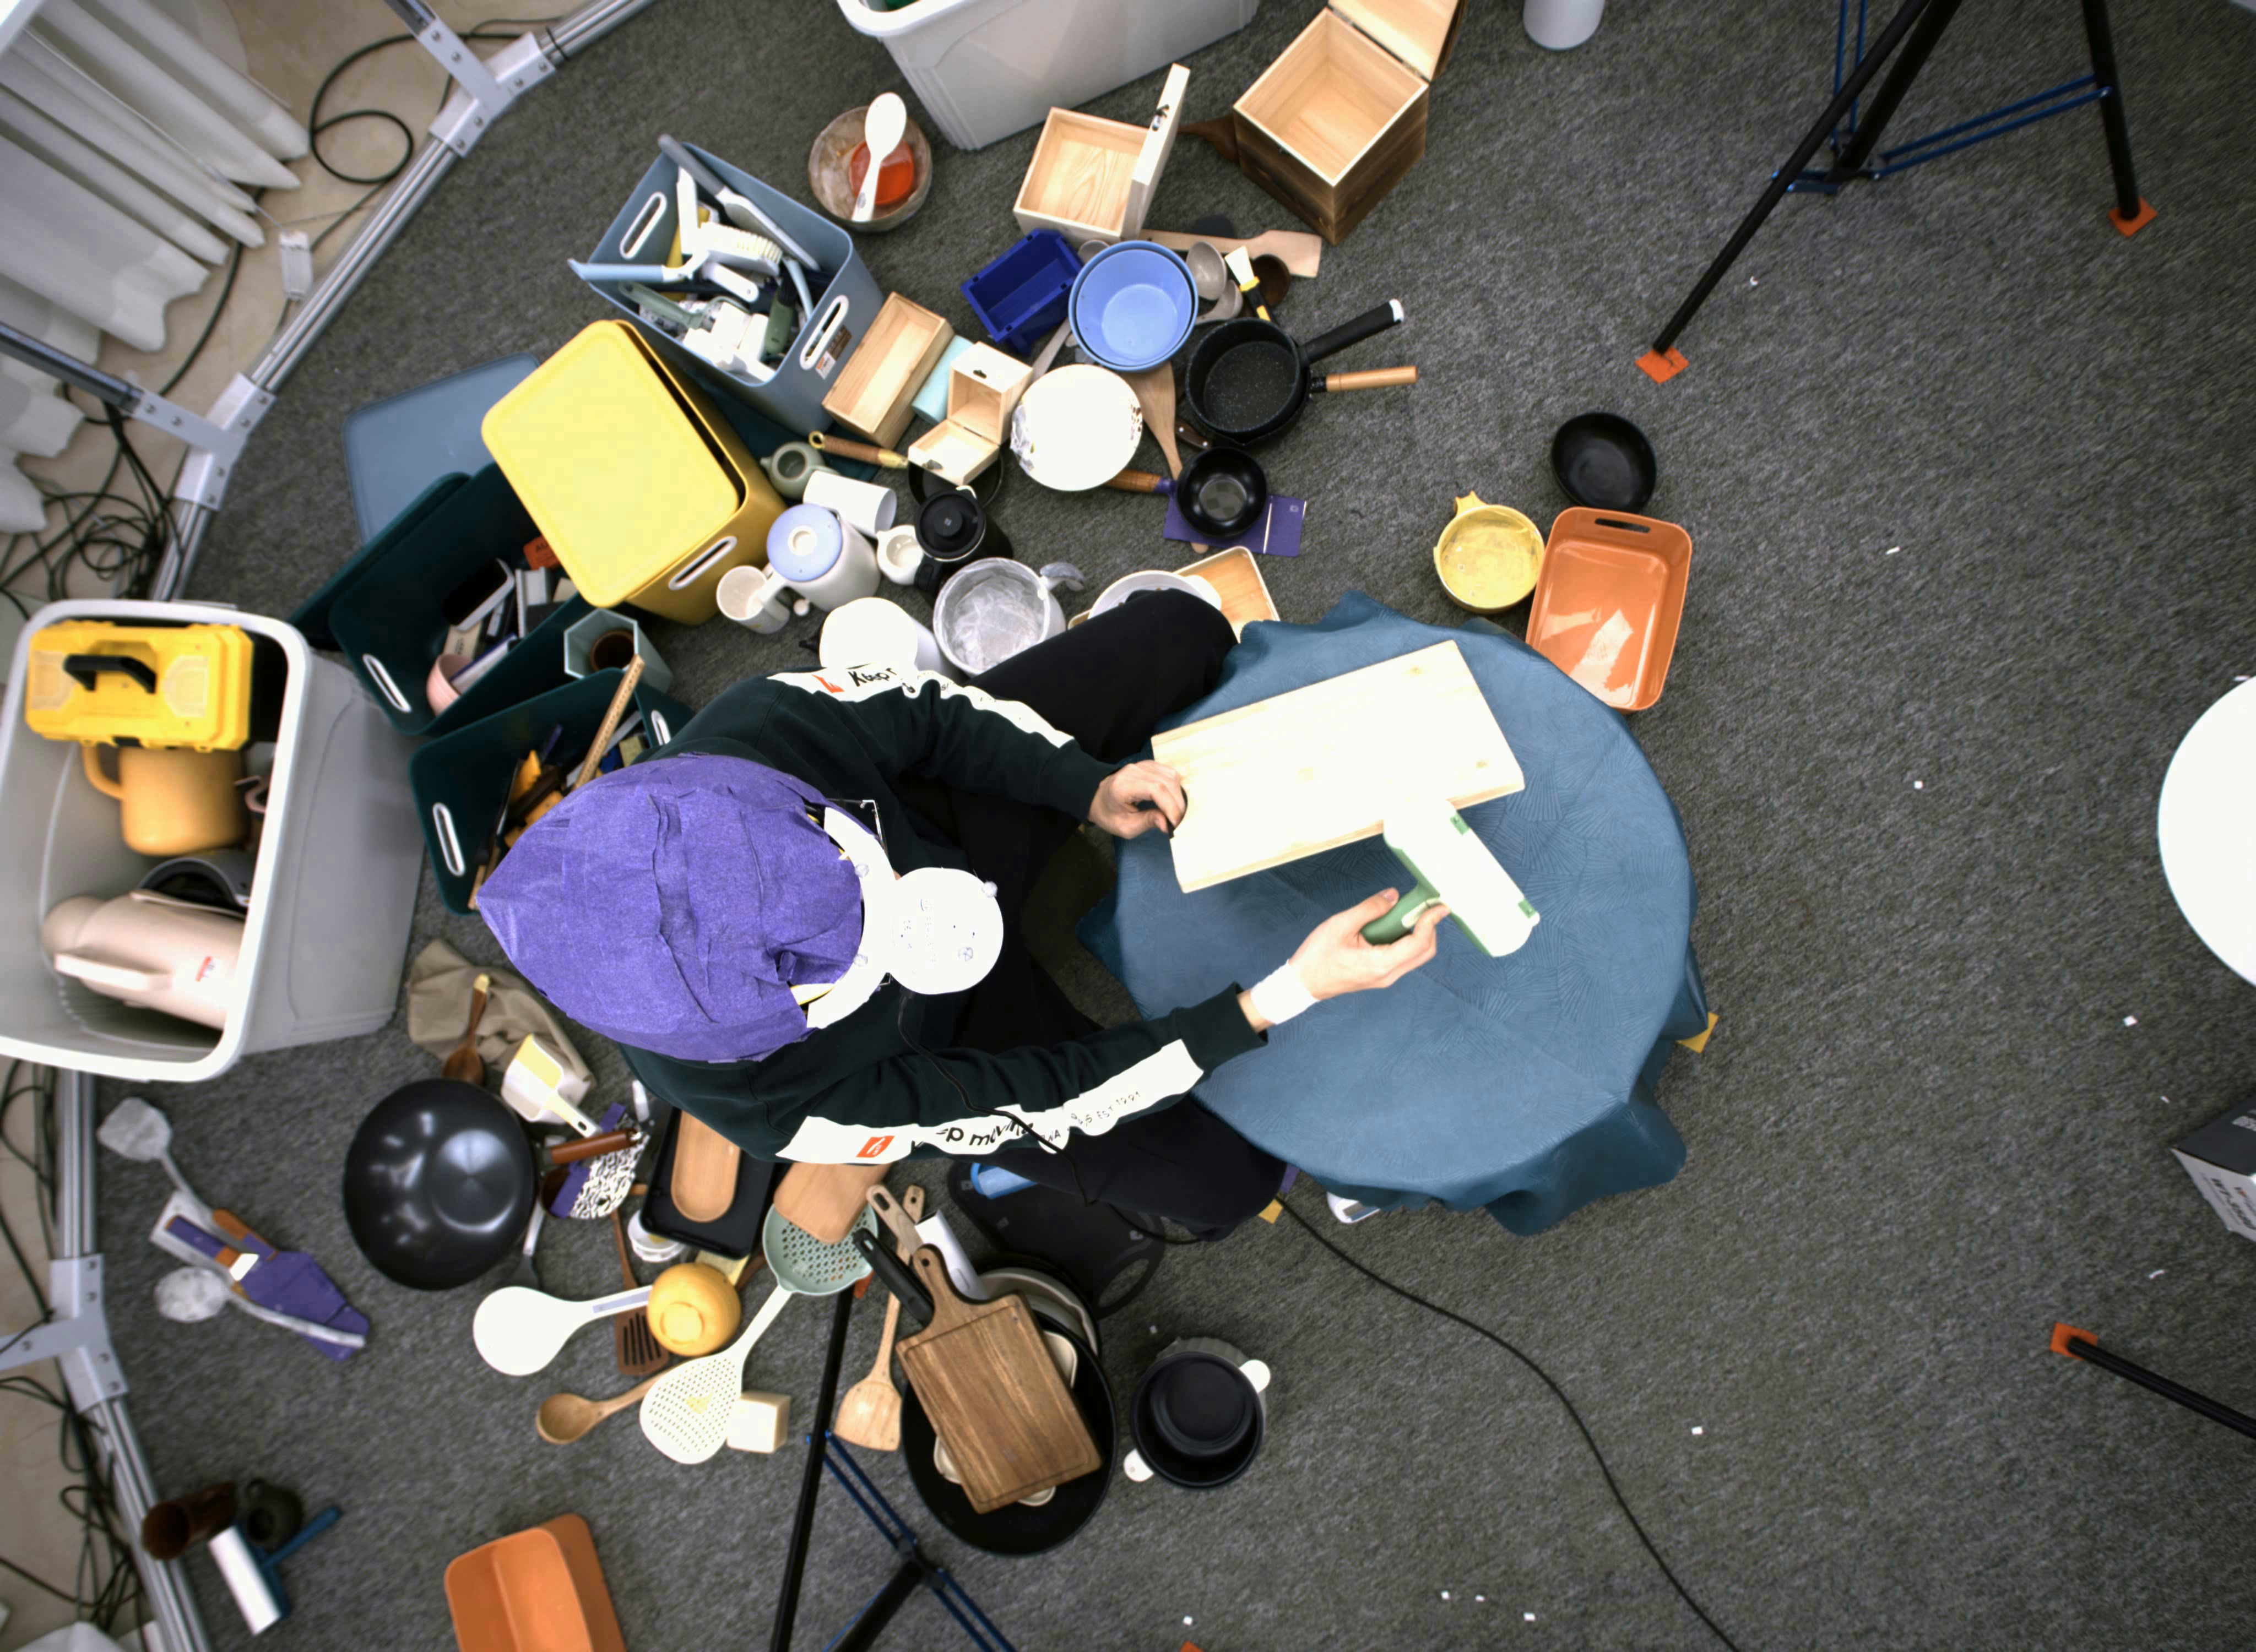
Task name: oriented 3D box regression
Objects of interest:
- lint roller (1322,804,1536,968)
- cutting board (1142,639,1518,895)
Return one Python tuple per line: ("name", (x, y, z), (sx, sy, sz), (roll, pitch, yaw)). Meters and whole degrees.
("lint roller", (0.264, 0.090, 1.272), (0.185, 0.201, 0.080), (-38, 36, 12))
("cutting board", (0.193, -0.066, 1.389), (0.350, 0.024, 0.244), (-18, 40, 8))
